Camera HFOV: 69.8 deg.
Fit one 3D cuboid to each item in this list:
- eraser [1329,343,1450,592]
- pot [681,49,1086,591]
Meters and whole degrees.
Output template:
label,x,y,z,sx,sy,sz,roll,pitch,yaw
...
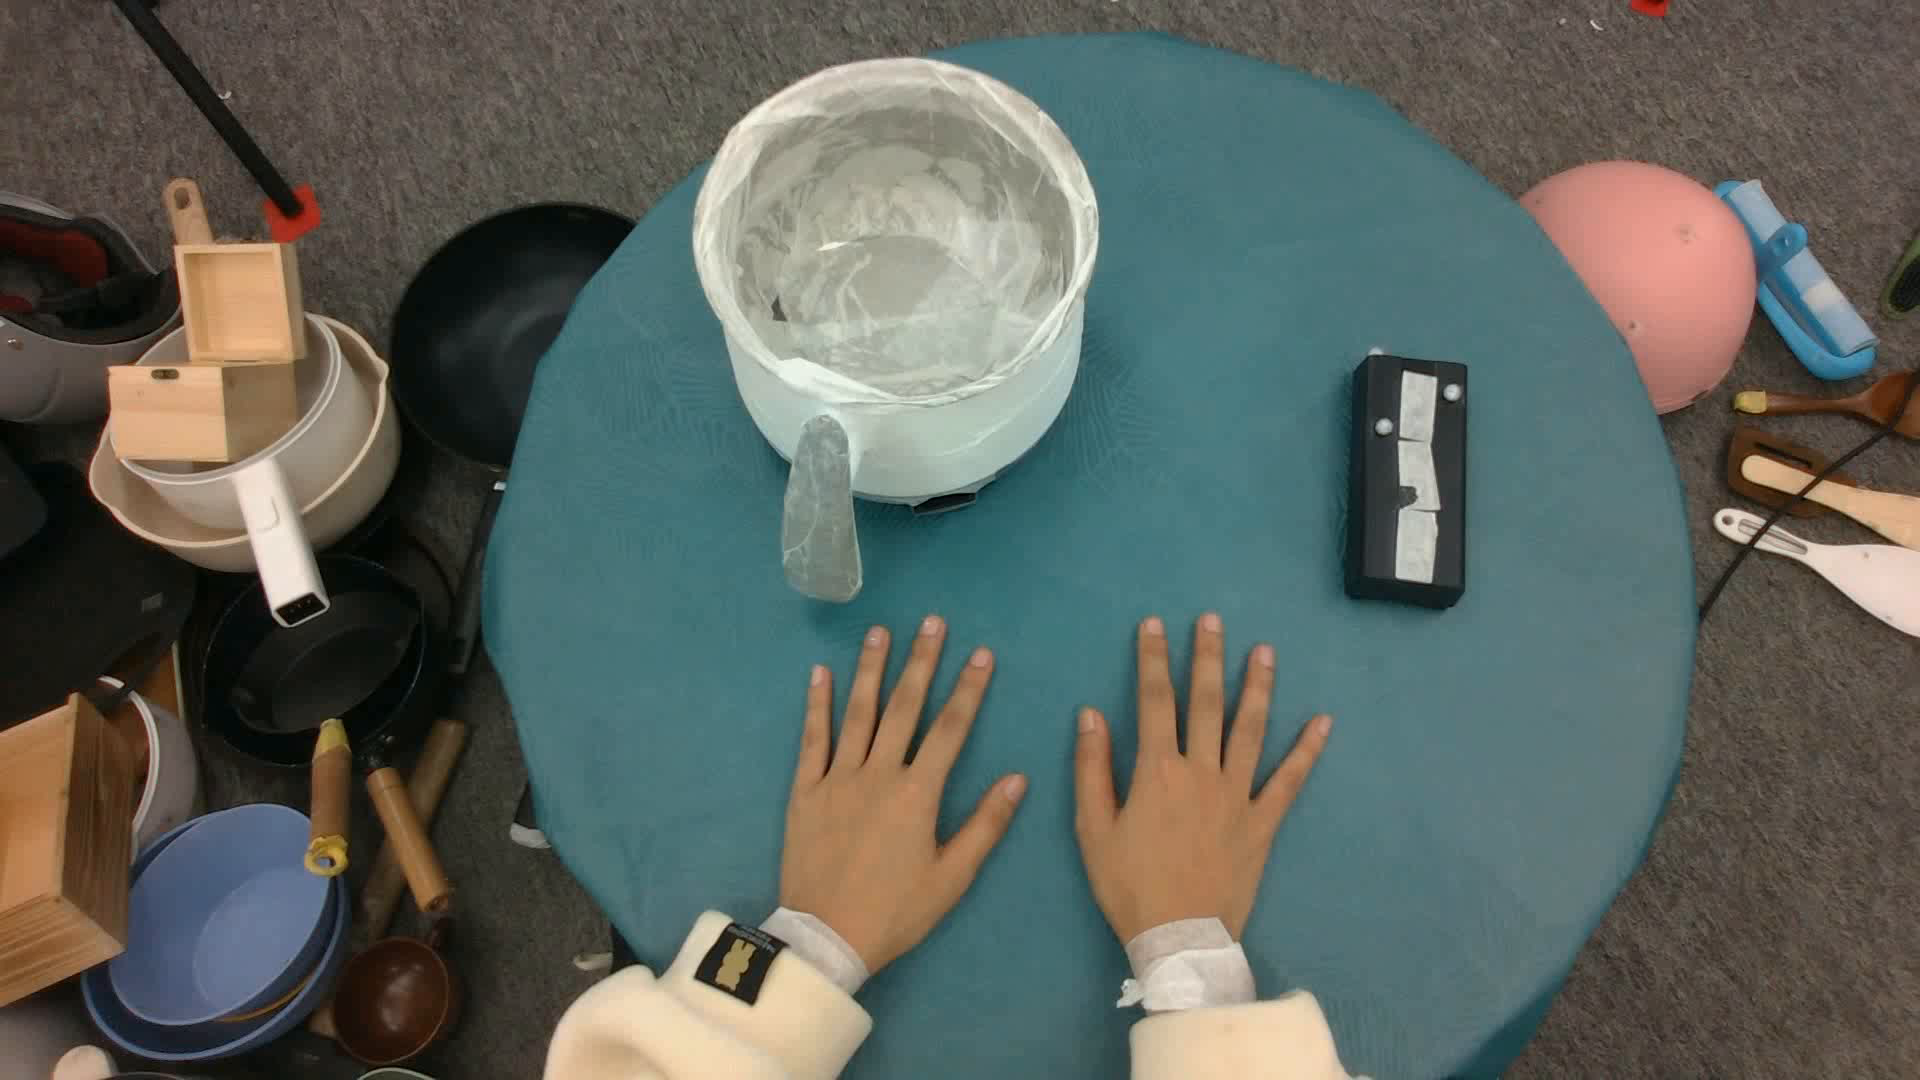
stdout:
label,x,y,z,sx,sy,sz,roll,pitch,yaw
eraser,0.215,-0.038,0.691,0.053,0.030,0.126,7,71,3
pot,-0.040,-0.096,0.651,0.178,0.136,0.234,14,70,5
